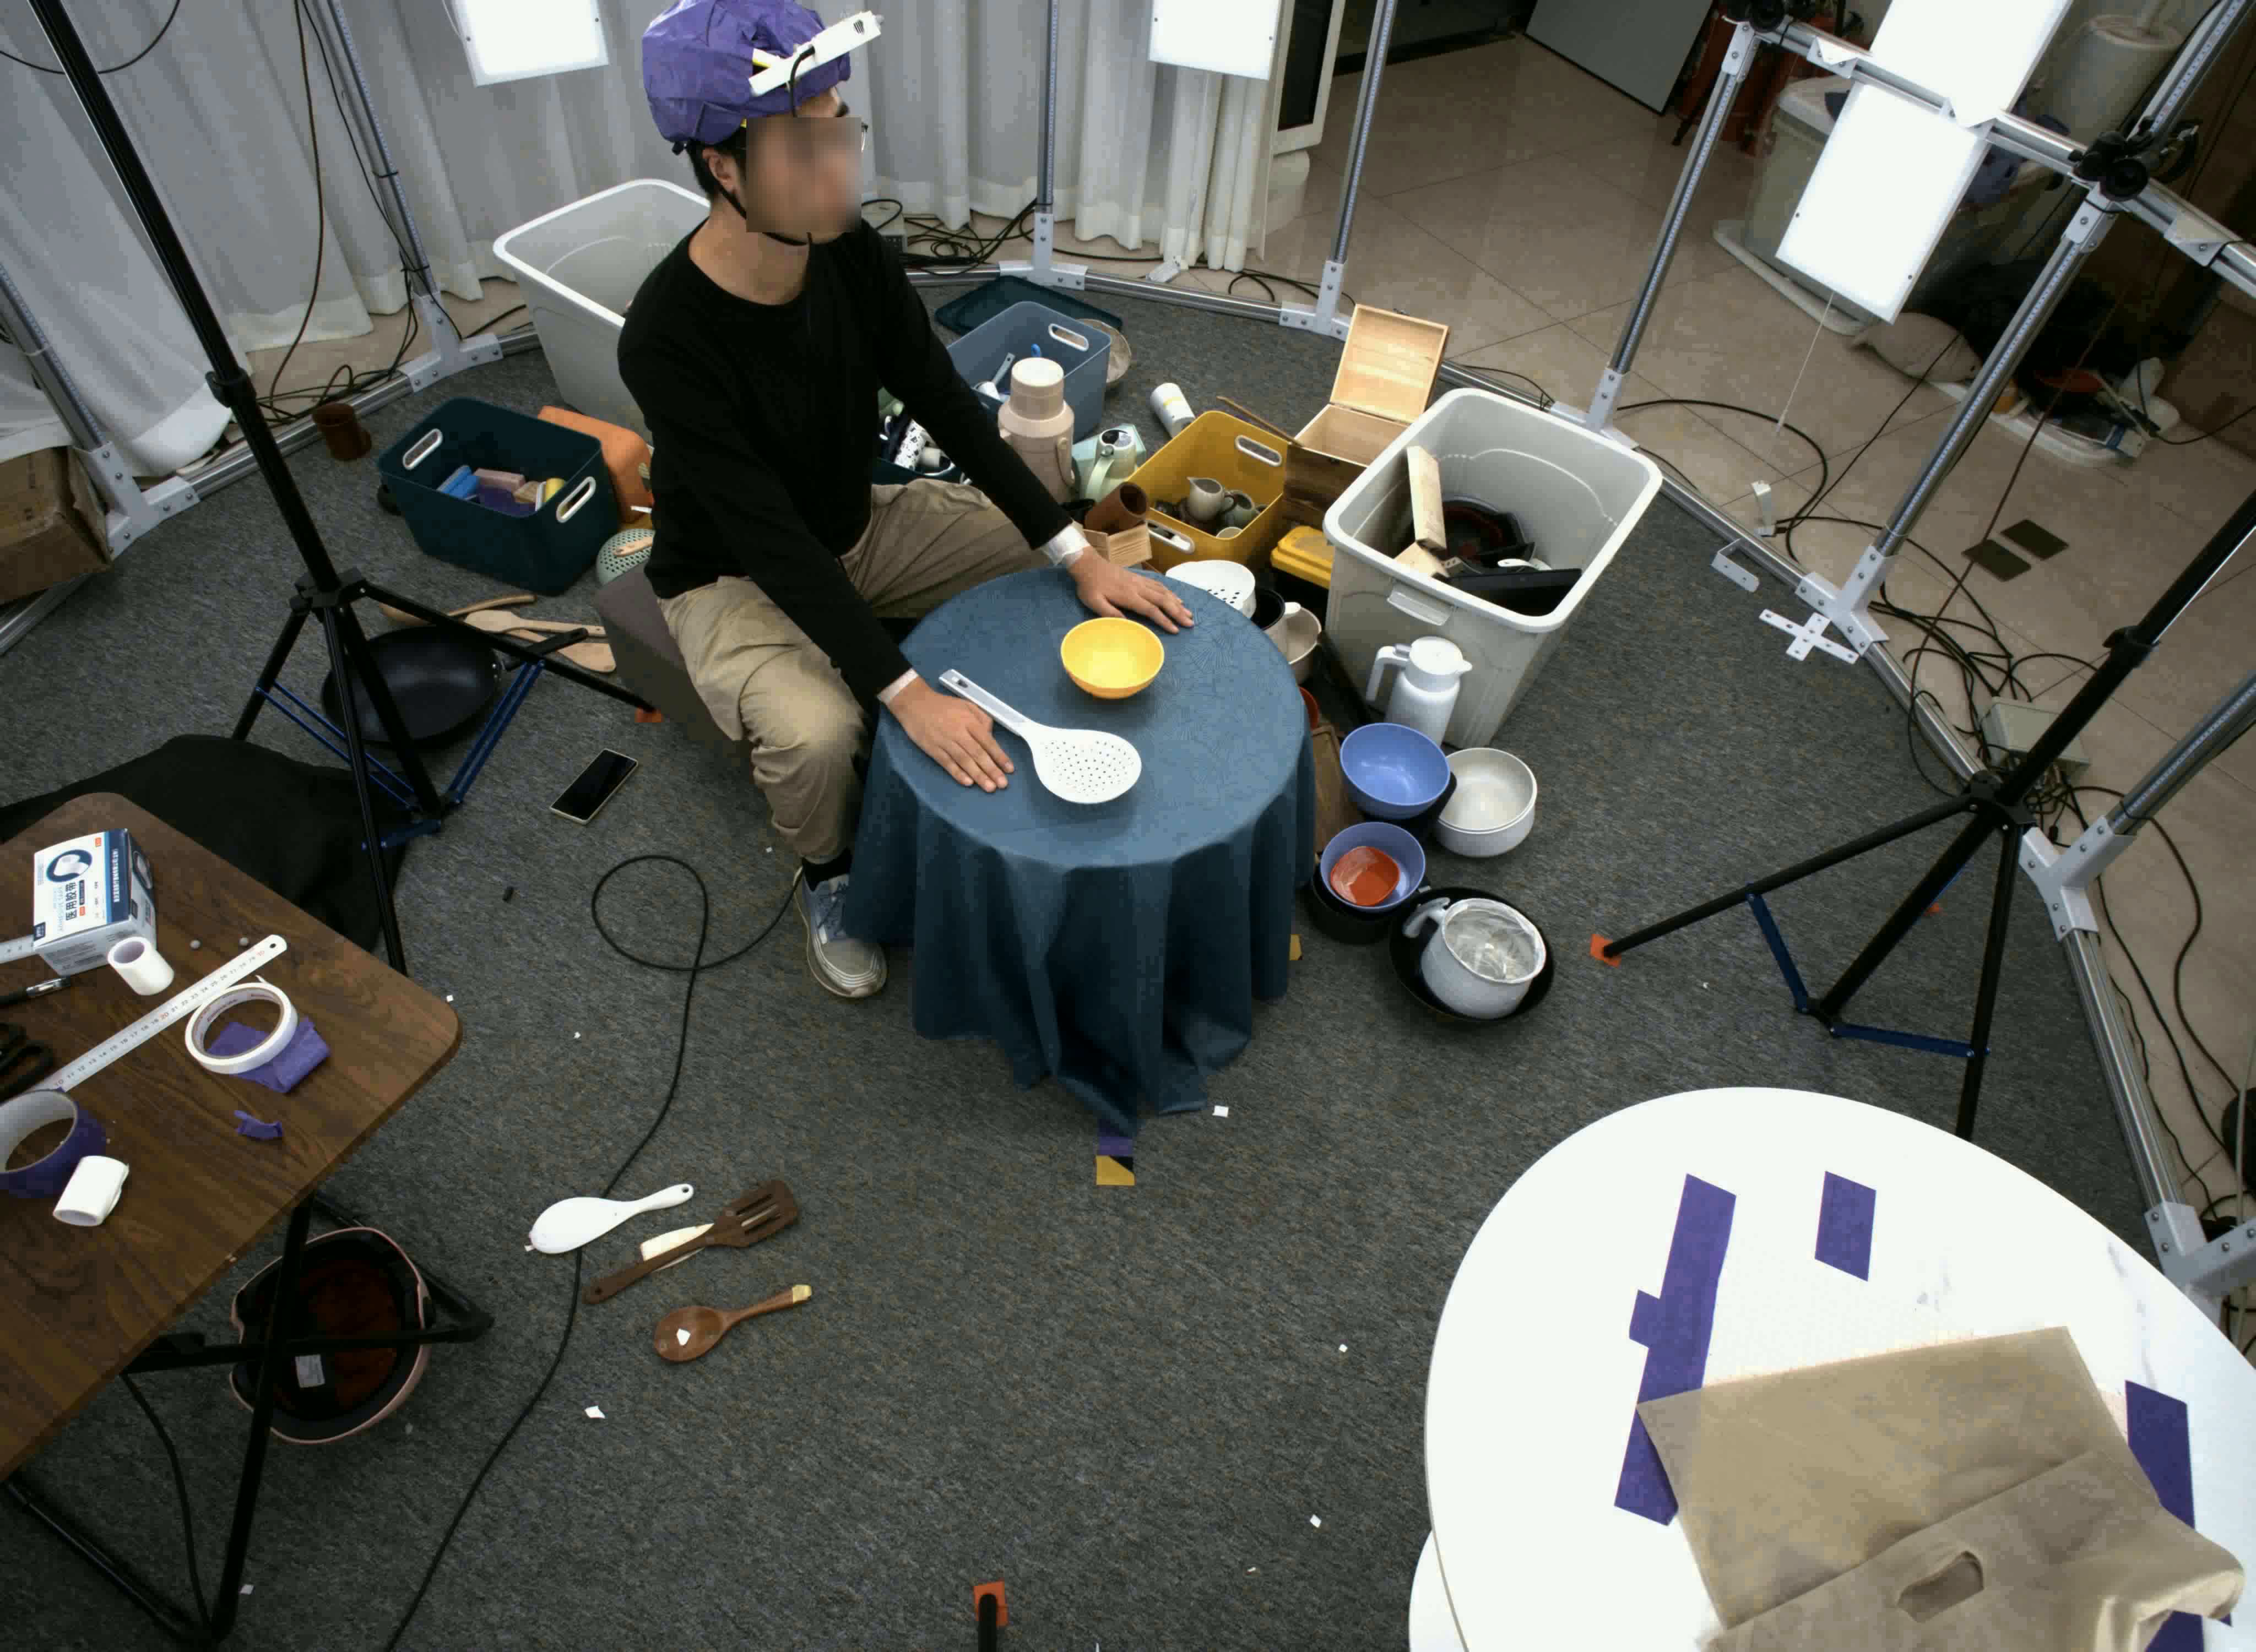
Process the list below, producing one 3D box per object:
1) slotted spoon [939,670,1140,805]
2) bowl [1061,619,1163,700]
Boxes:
[{"bbox_3d":[-0.132,-0.127,1.741,0.355,0.044,0.137,36,55,26],"label":"slotted spoon"},{"bbox_3d":[-0.025,-0.226,1.828,0.145,0.058,0.149,3,48,-4],"label":"bowl"}]
